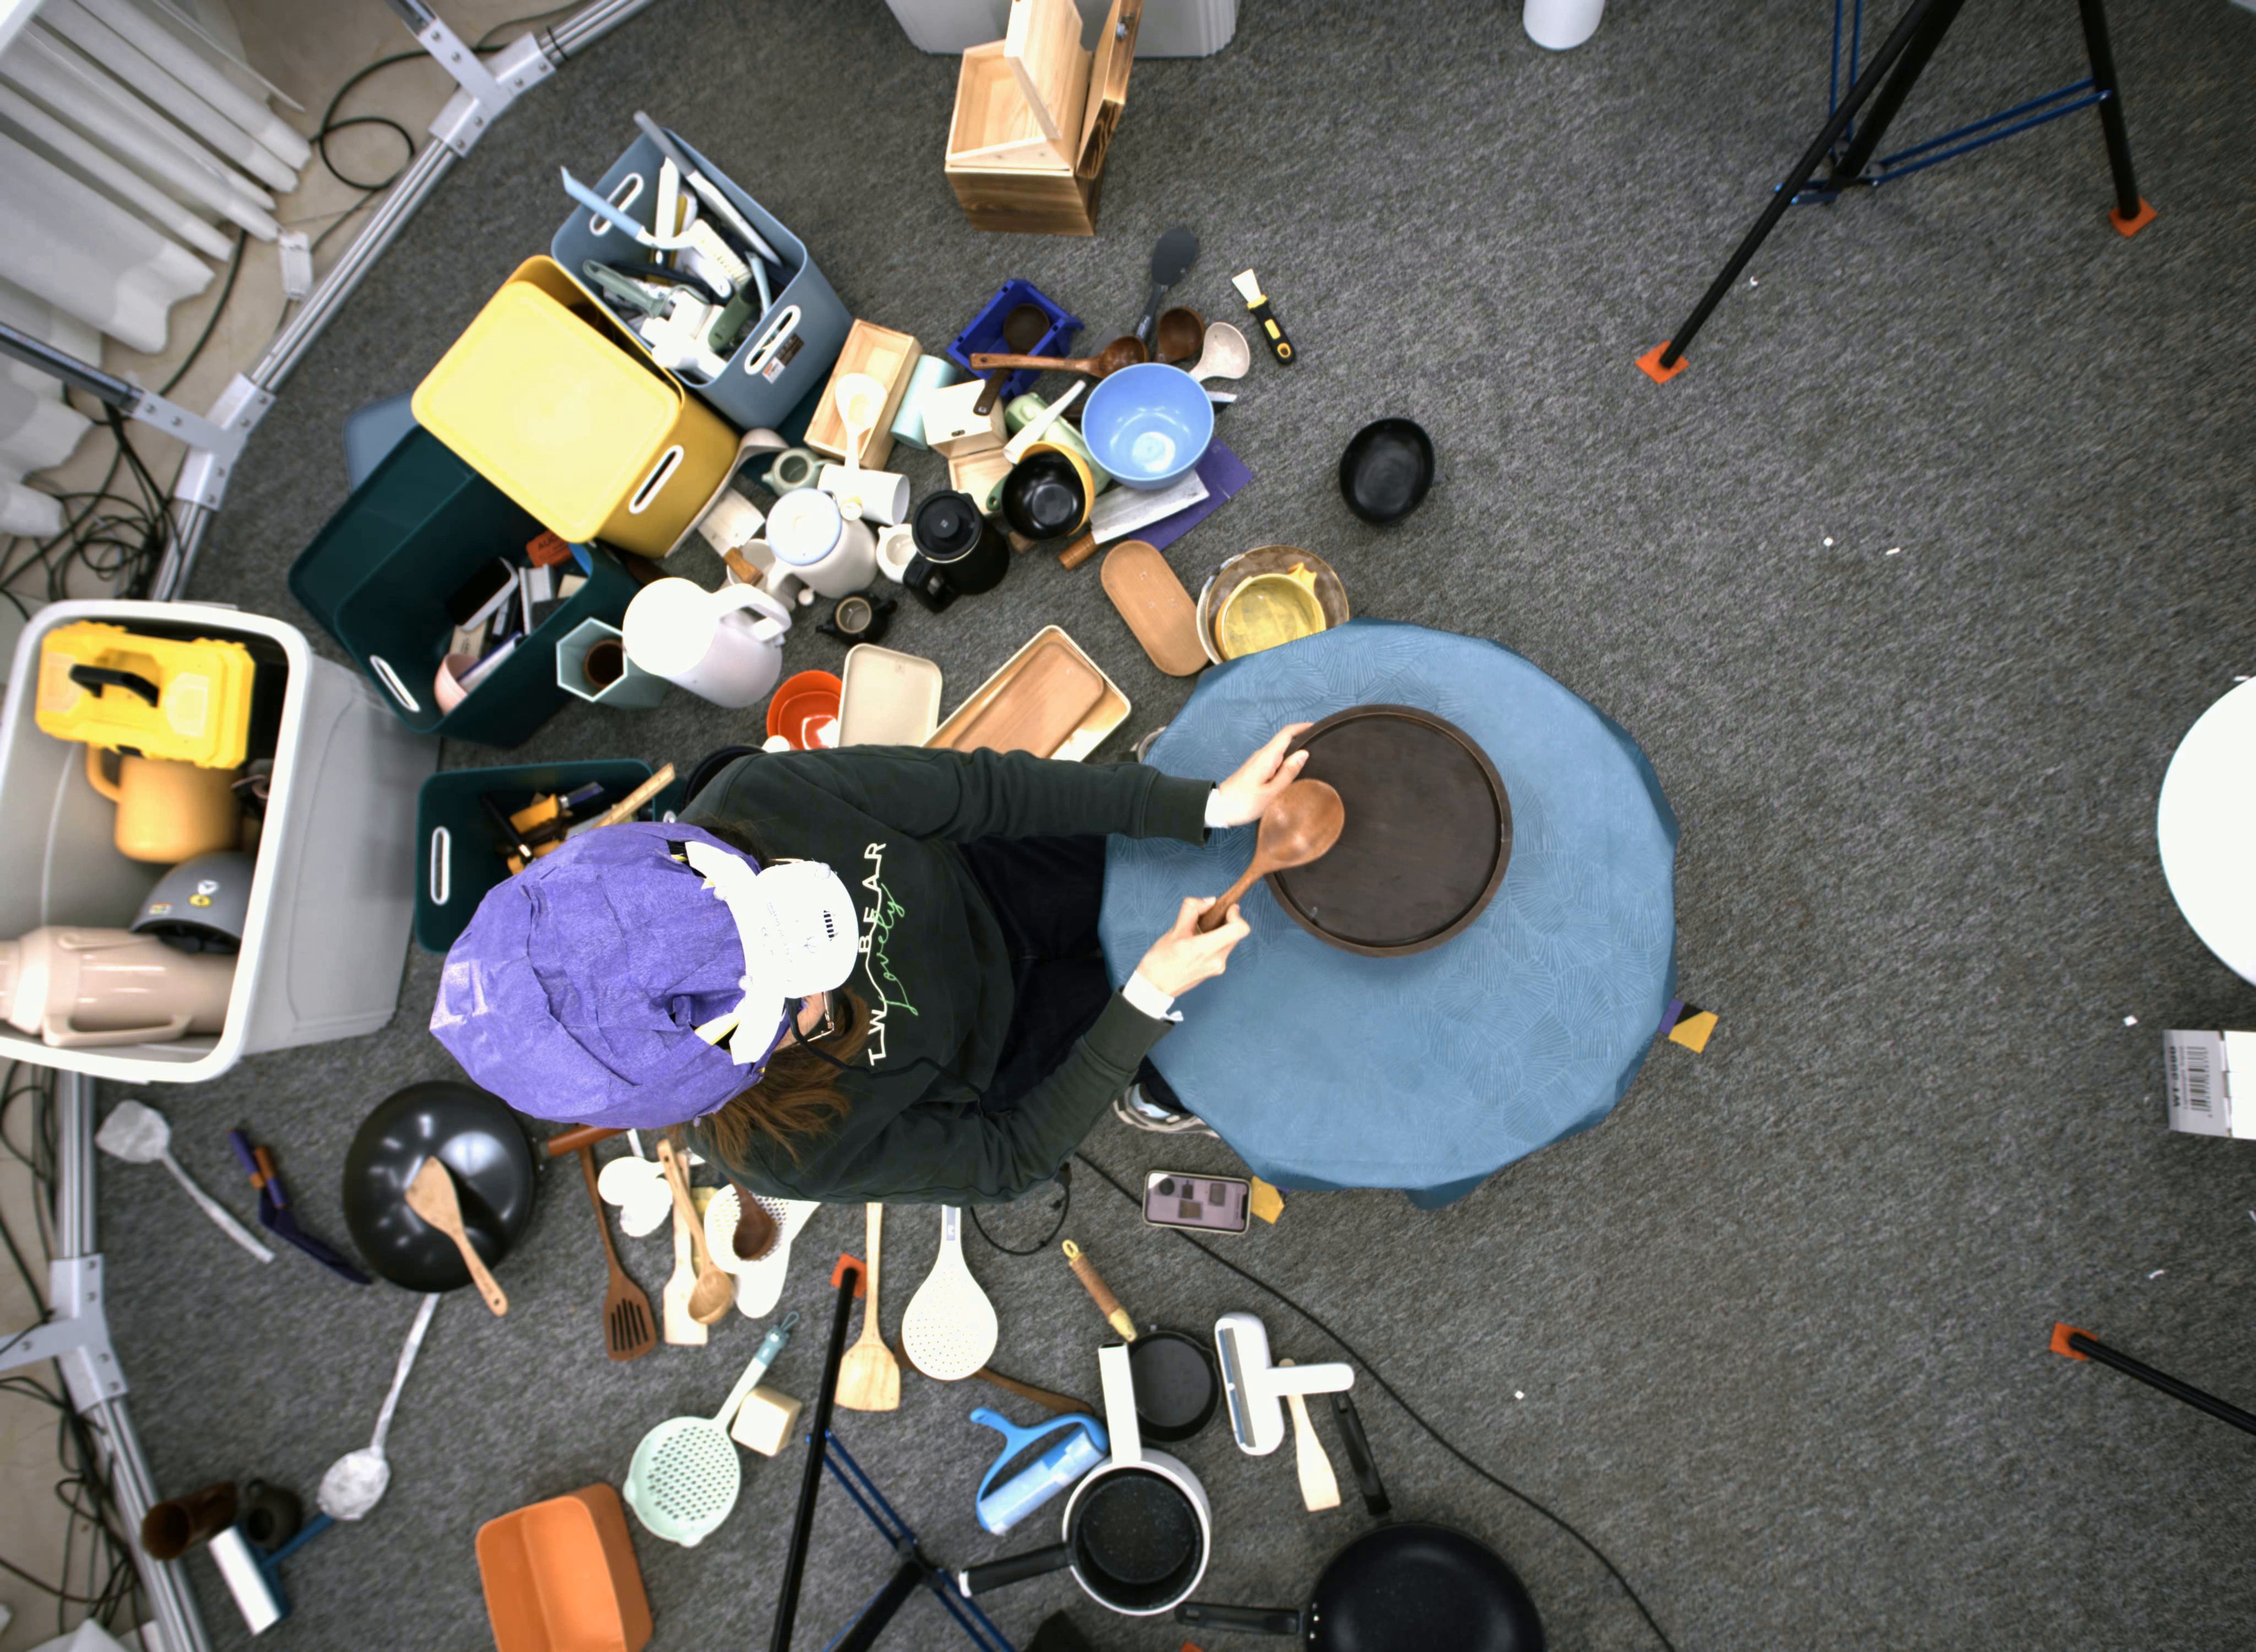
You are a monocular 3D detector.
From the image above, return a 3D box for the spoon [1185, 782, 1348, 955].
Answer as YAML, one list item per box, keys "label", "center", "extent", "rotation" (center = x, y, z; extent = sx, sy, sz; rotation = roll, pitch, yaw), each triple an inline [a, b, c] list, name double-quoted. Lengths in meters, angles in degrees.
- label: "spoon"
  center: [0.130, 0.045, 1.349]
  extent: [0.075, 0.017, 0.218]
  rotation: [45, 106, 10]

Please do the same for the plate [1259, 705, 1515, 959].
- label: "plate"
  center: [0.257, 0.005, 1.379]
  extent: [0.256, 0.029, 0.255]
  rotation: [0, 92, 11]
